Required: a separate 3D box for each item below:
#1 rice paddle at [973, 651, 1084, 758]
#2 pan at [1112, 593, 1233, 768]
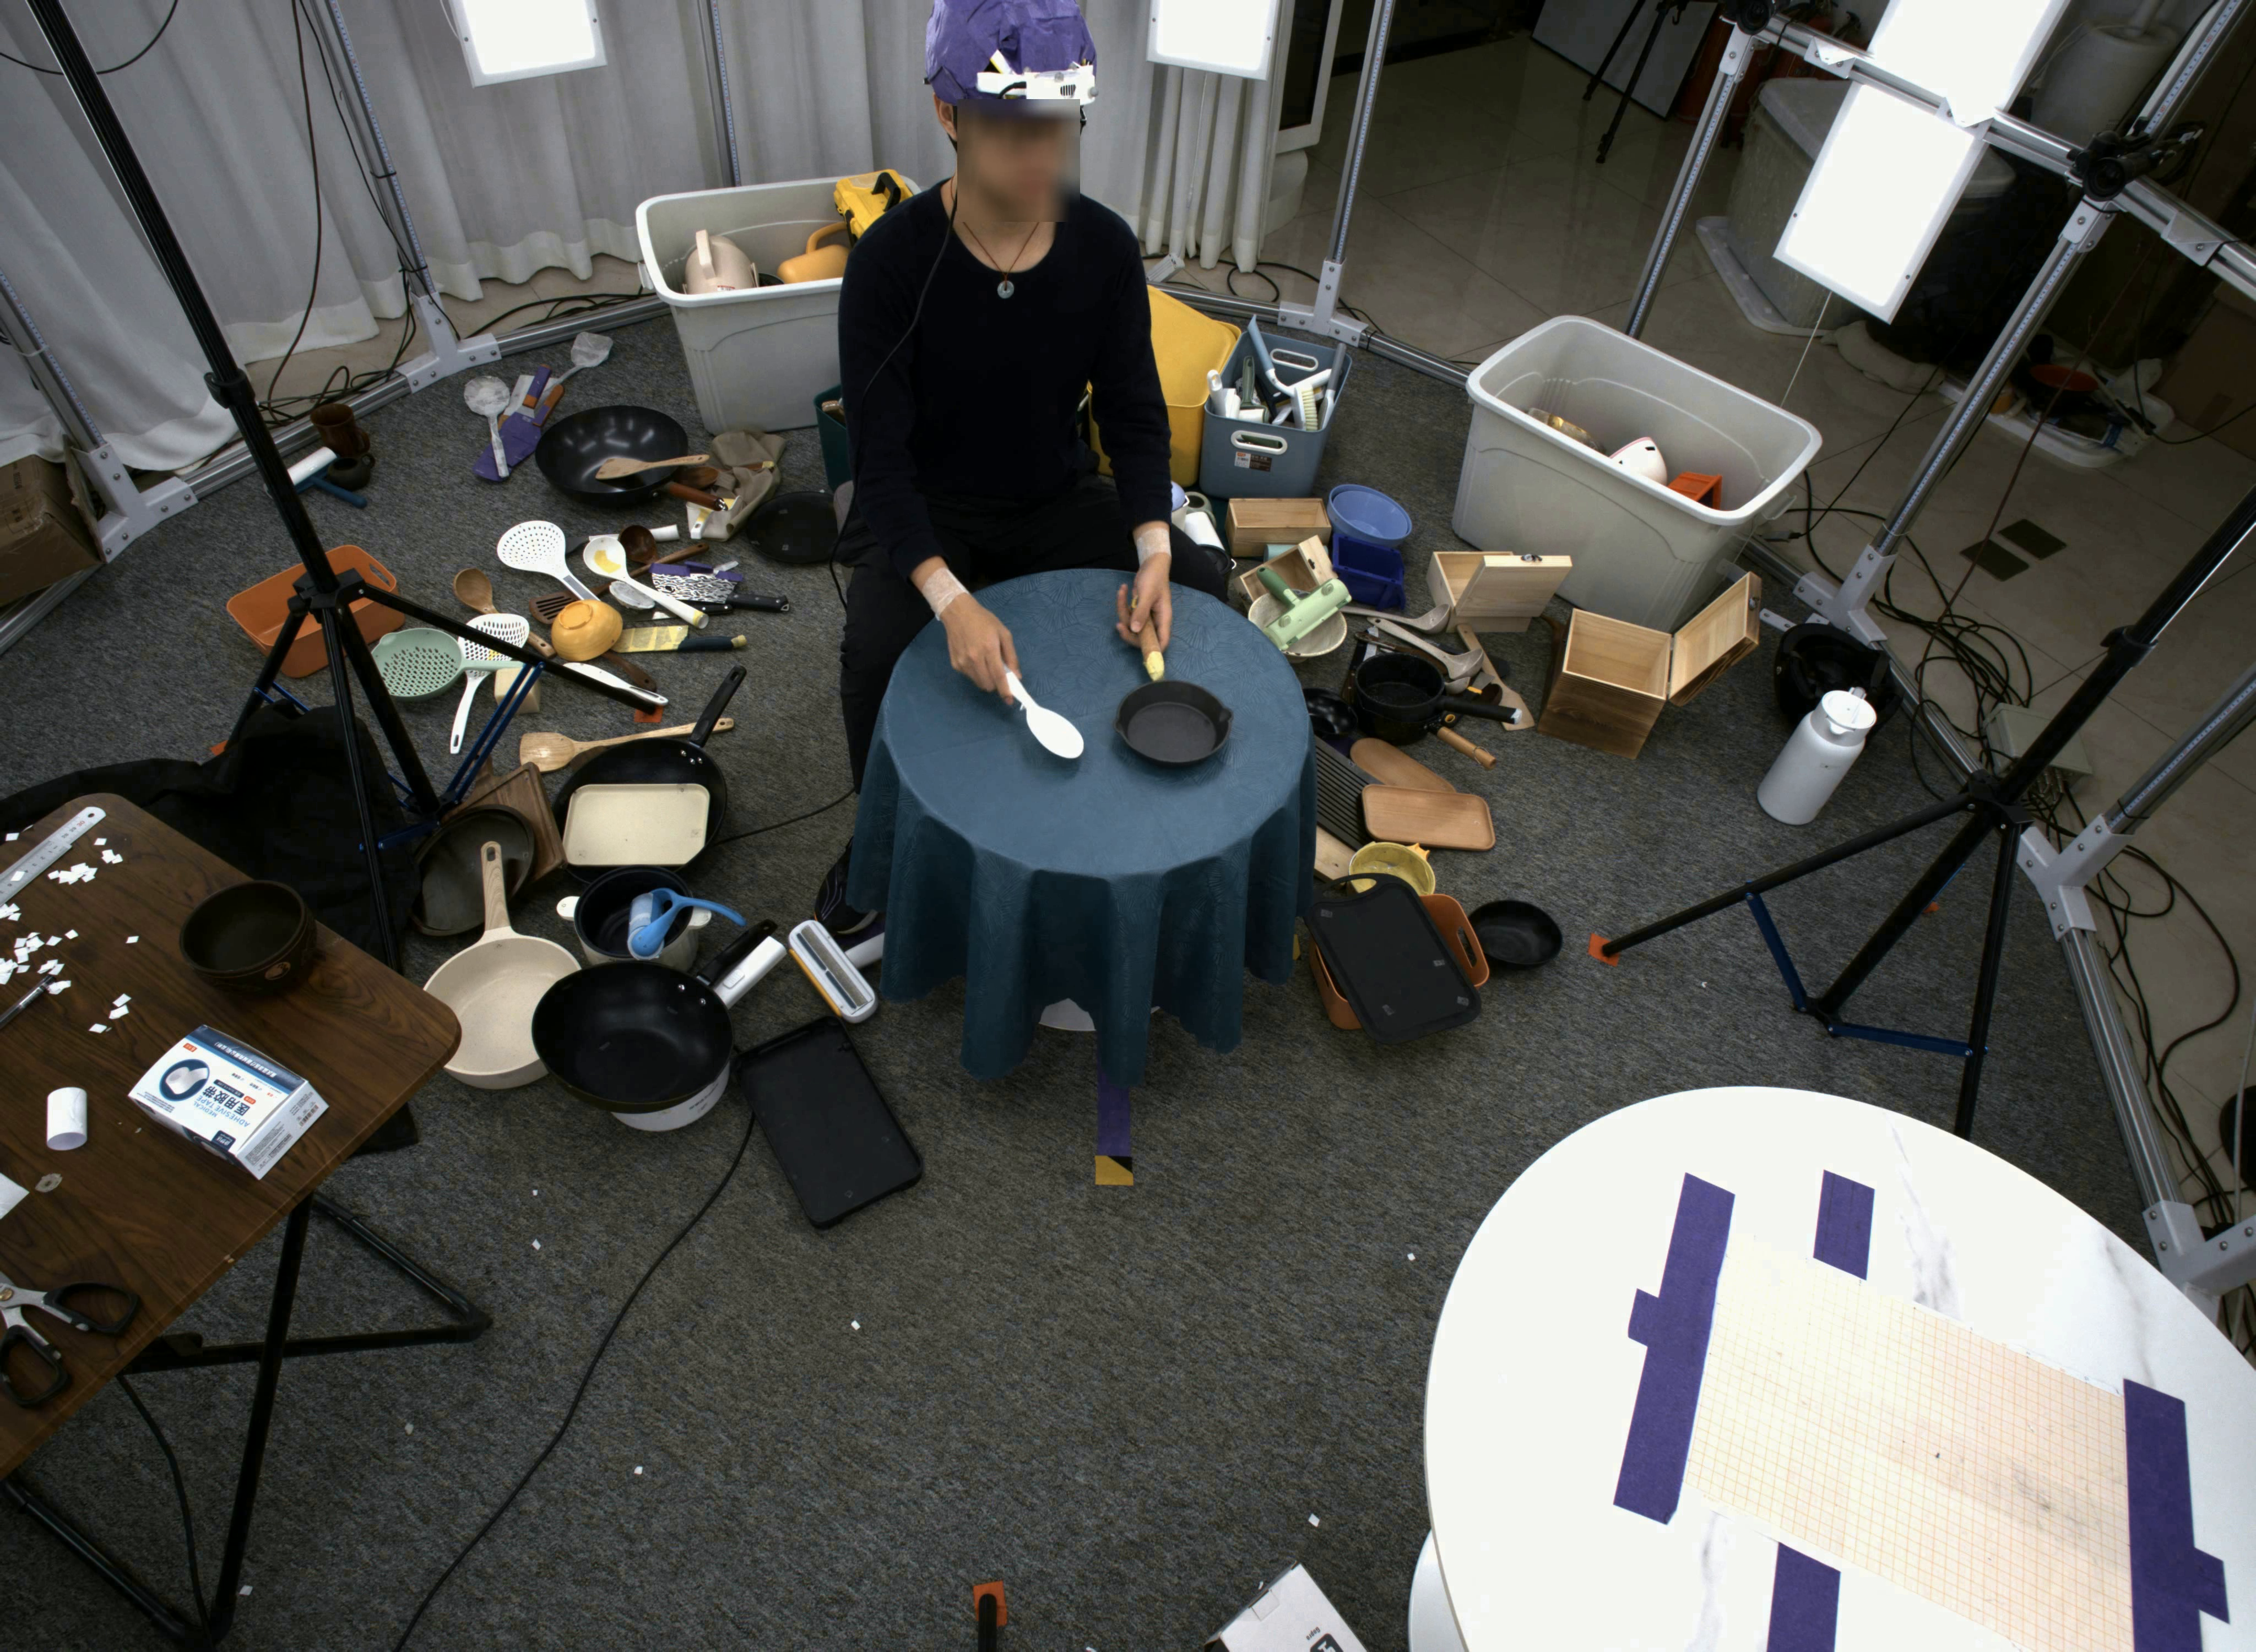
[{"bbox_3d":[-0.135,-0.164,1.754,0.069,0.029,0.208,-25,62,-42],"label":"rice paddle"},{"bbox_3d":[0.047,-0.207,1.819,0.169,0.048,0.332,-5,51,-8],"label":"pan"}]
